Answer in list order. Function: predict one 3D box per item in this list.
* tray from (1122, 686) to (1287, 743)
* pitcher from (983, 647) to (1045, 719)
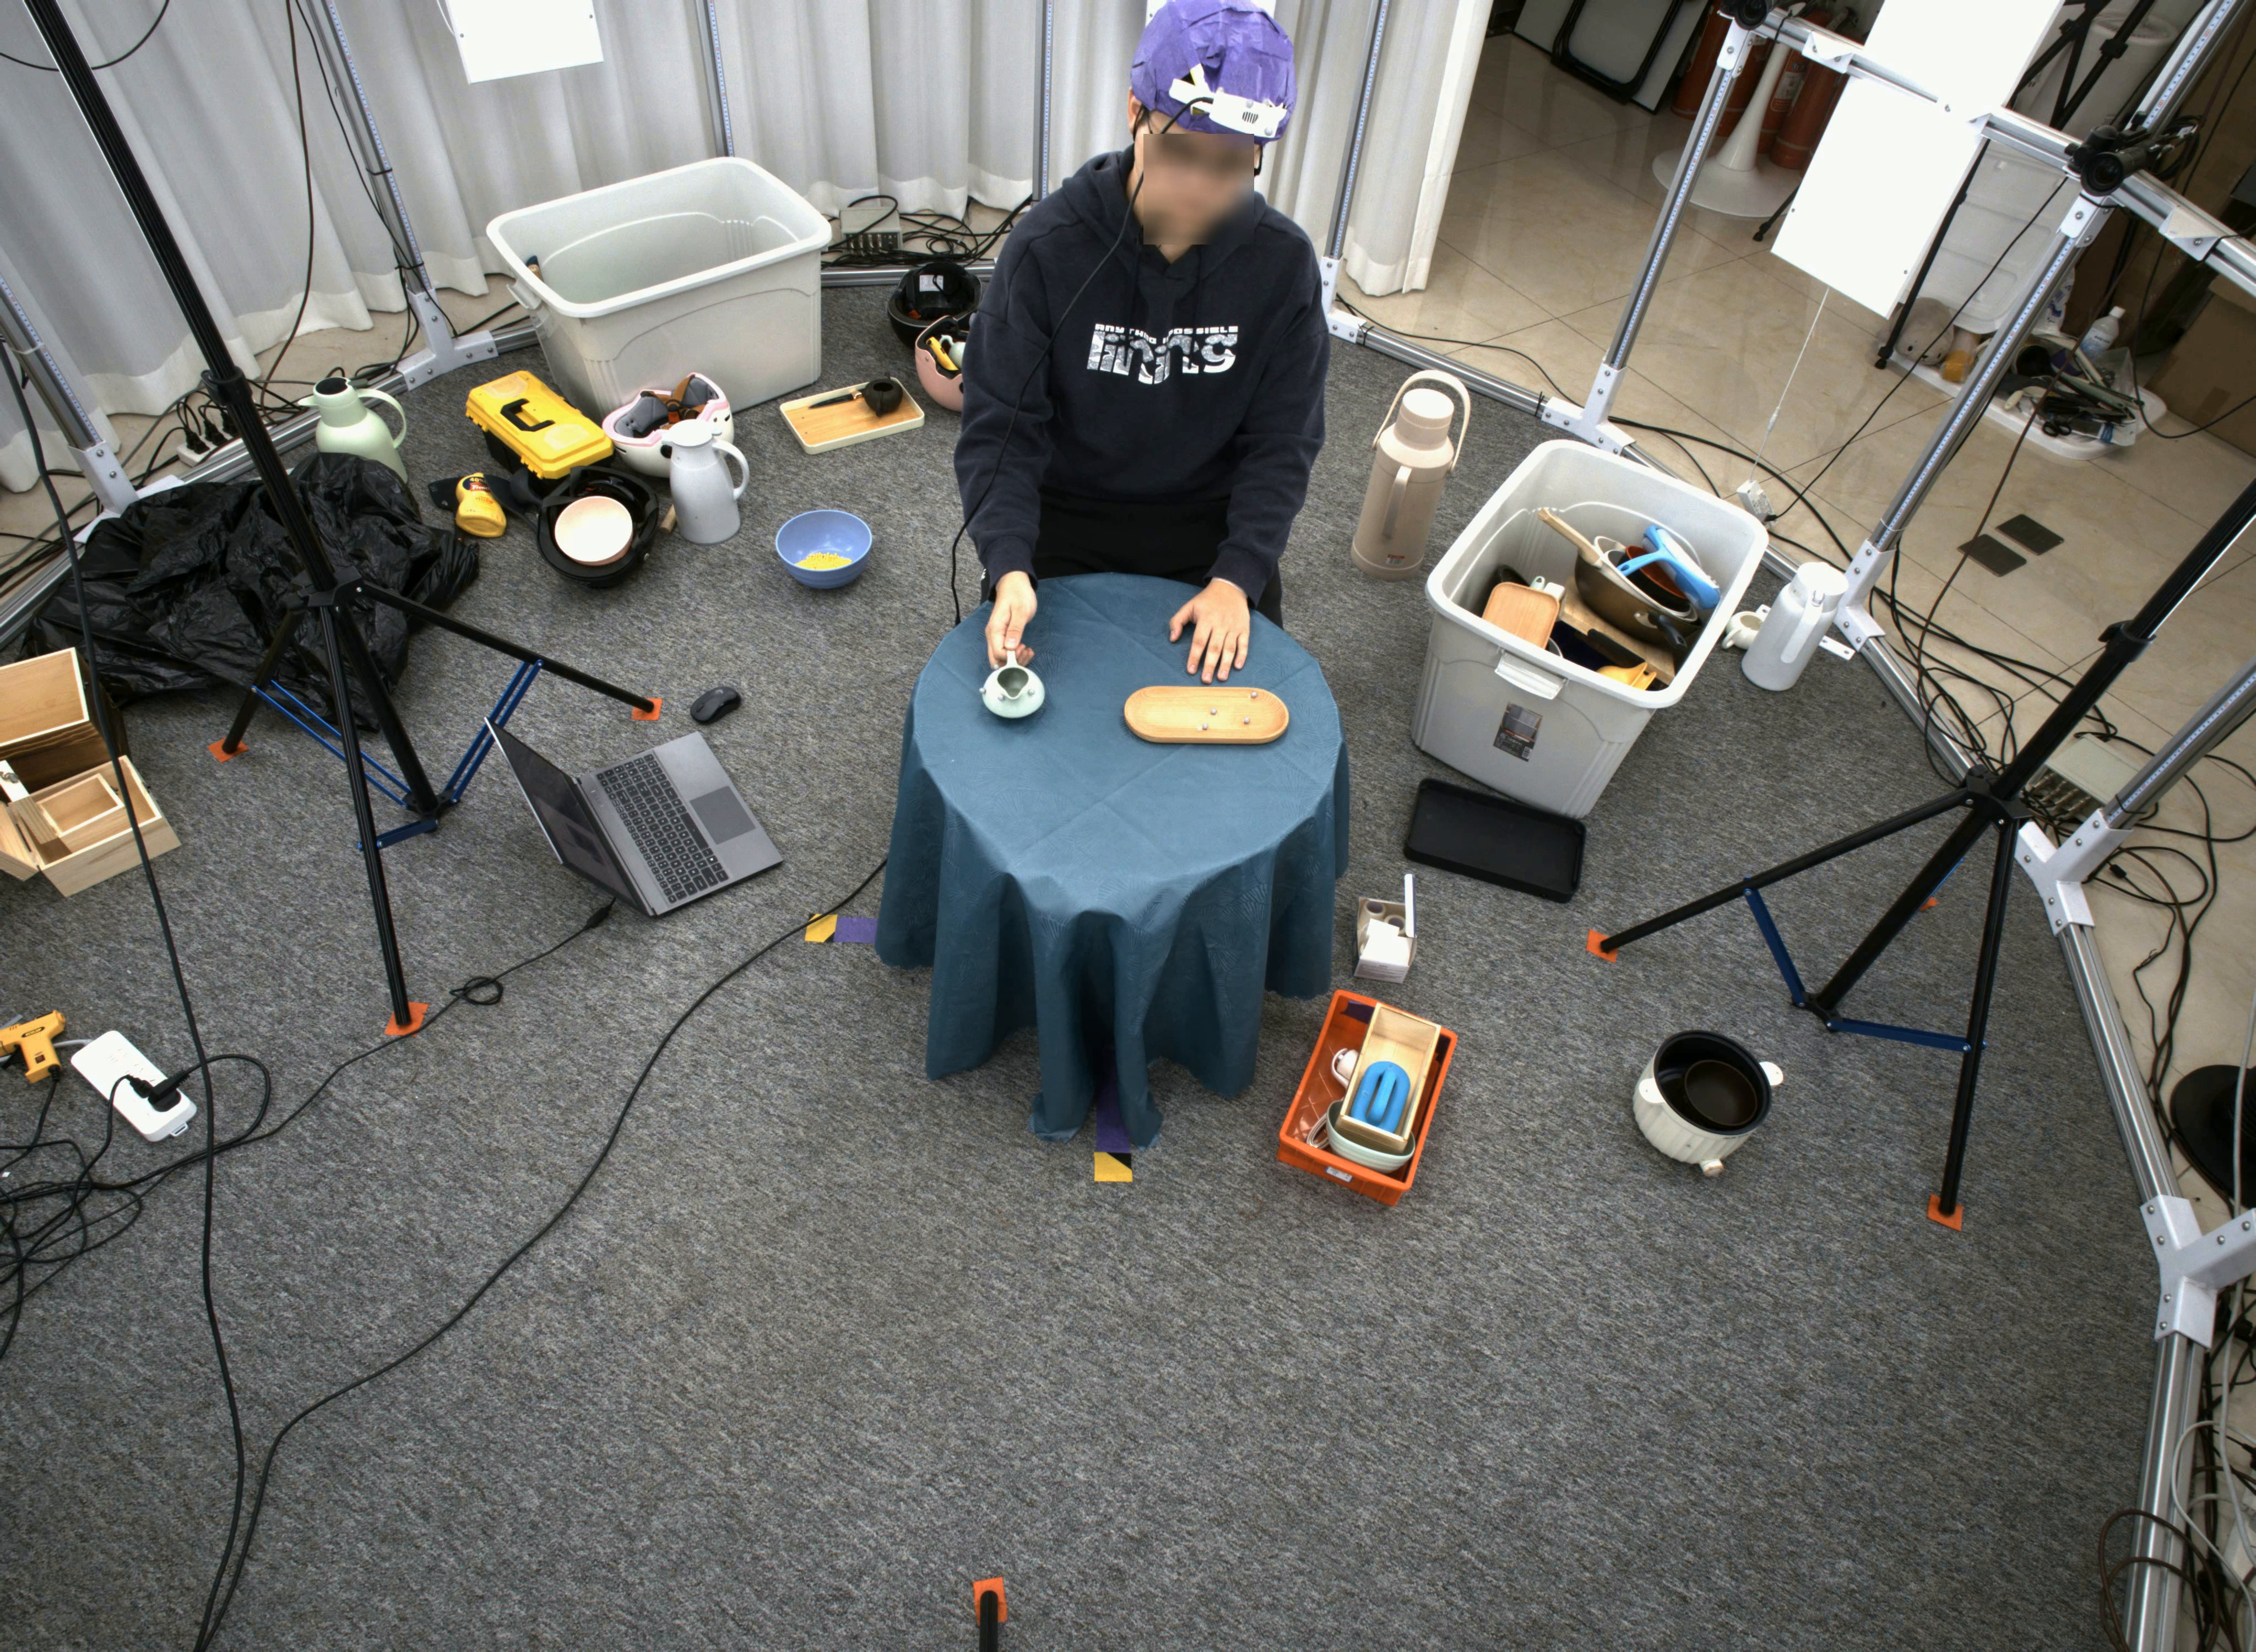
[{"bbox_3d":[0.107,-0.156,1.799,0.231,0.020,0.104,-1,48,-3],"label":"tray"},{"bbox_3d":[-0.159,-0.197,1.782,0.086,0.059,0.110,-3,51,-7],"label":"pitcher"}]
